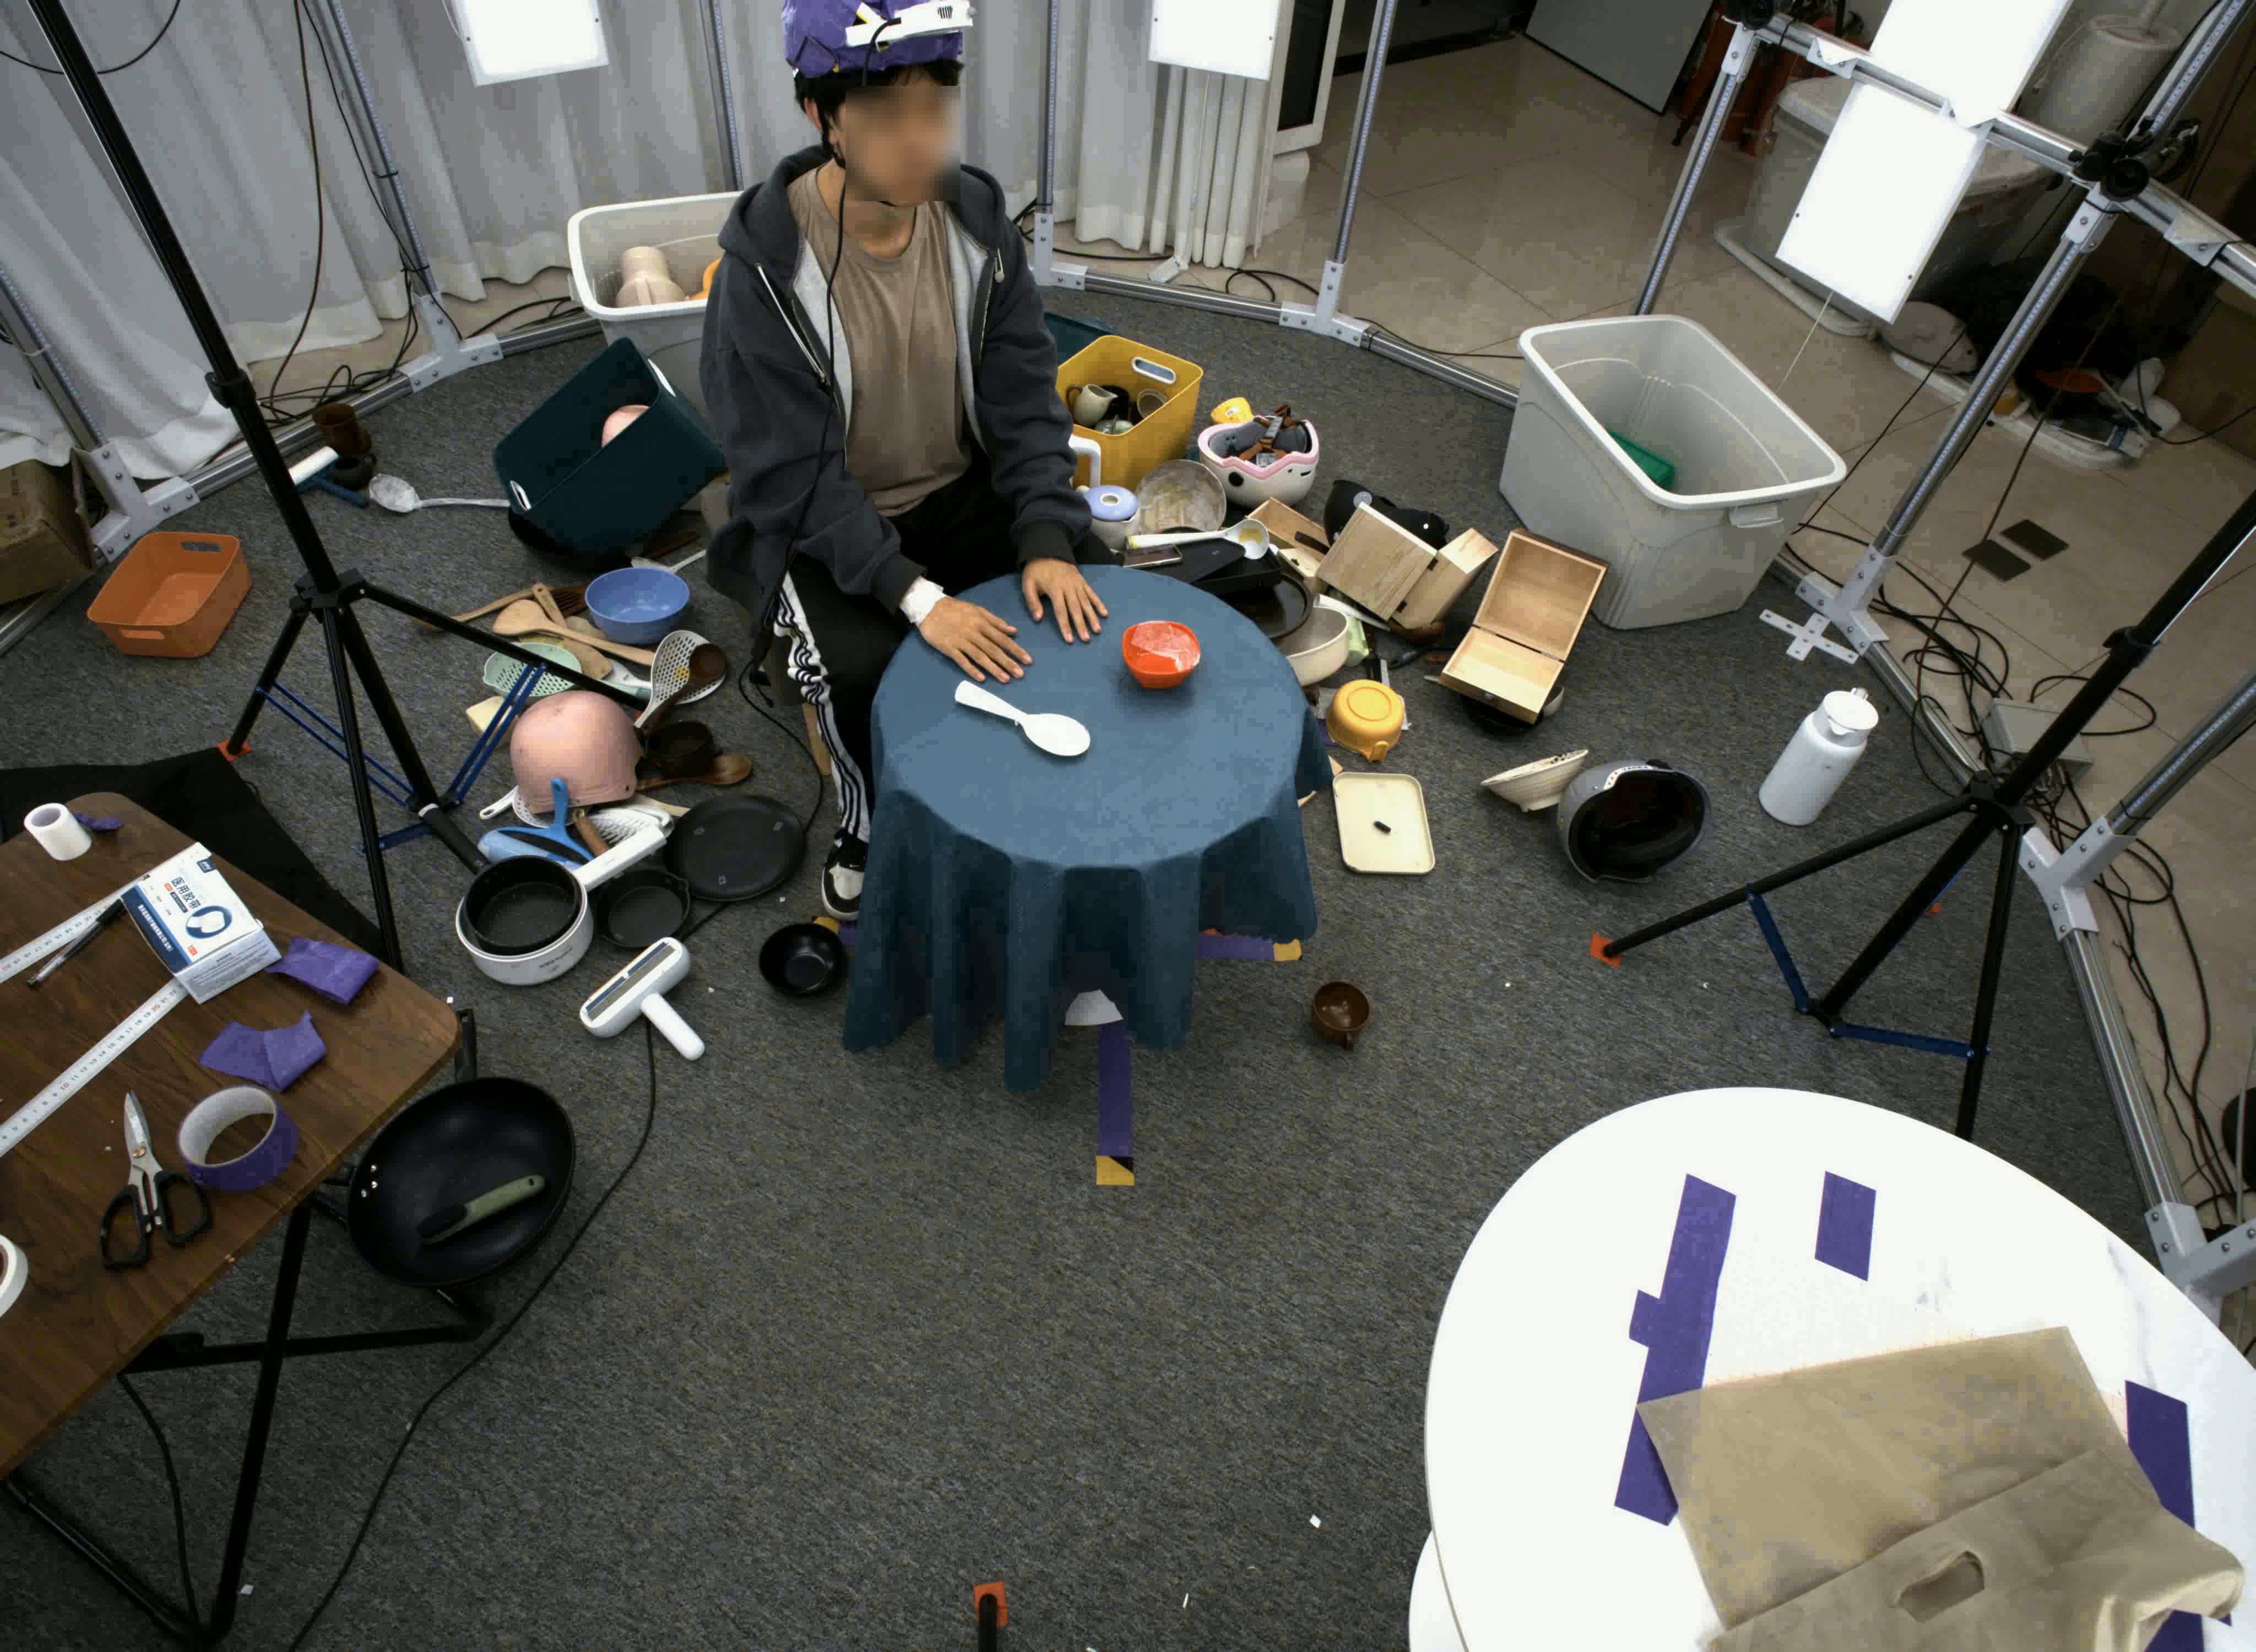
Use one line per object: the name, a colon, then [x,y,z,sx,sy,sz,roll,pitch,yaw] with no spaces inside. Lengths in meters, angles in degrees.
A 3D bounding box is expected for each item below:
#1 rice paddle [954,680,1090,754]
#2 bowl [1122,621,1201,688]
rice paddle: [-0.145,-0.151,1.768,0.207,0.029,0.070,24,53,16]
bowl: [0.046,-0.240,1.844,0.119,0.050,0.122,2,50,-3]
